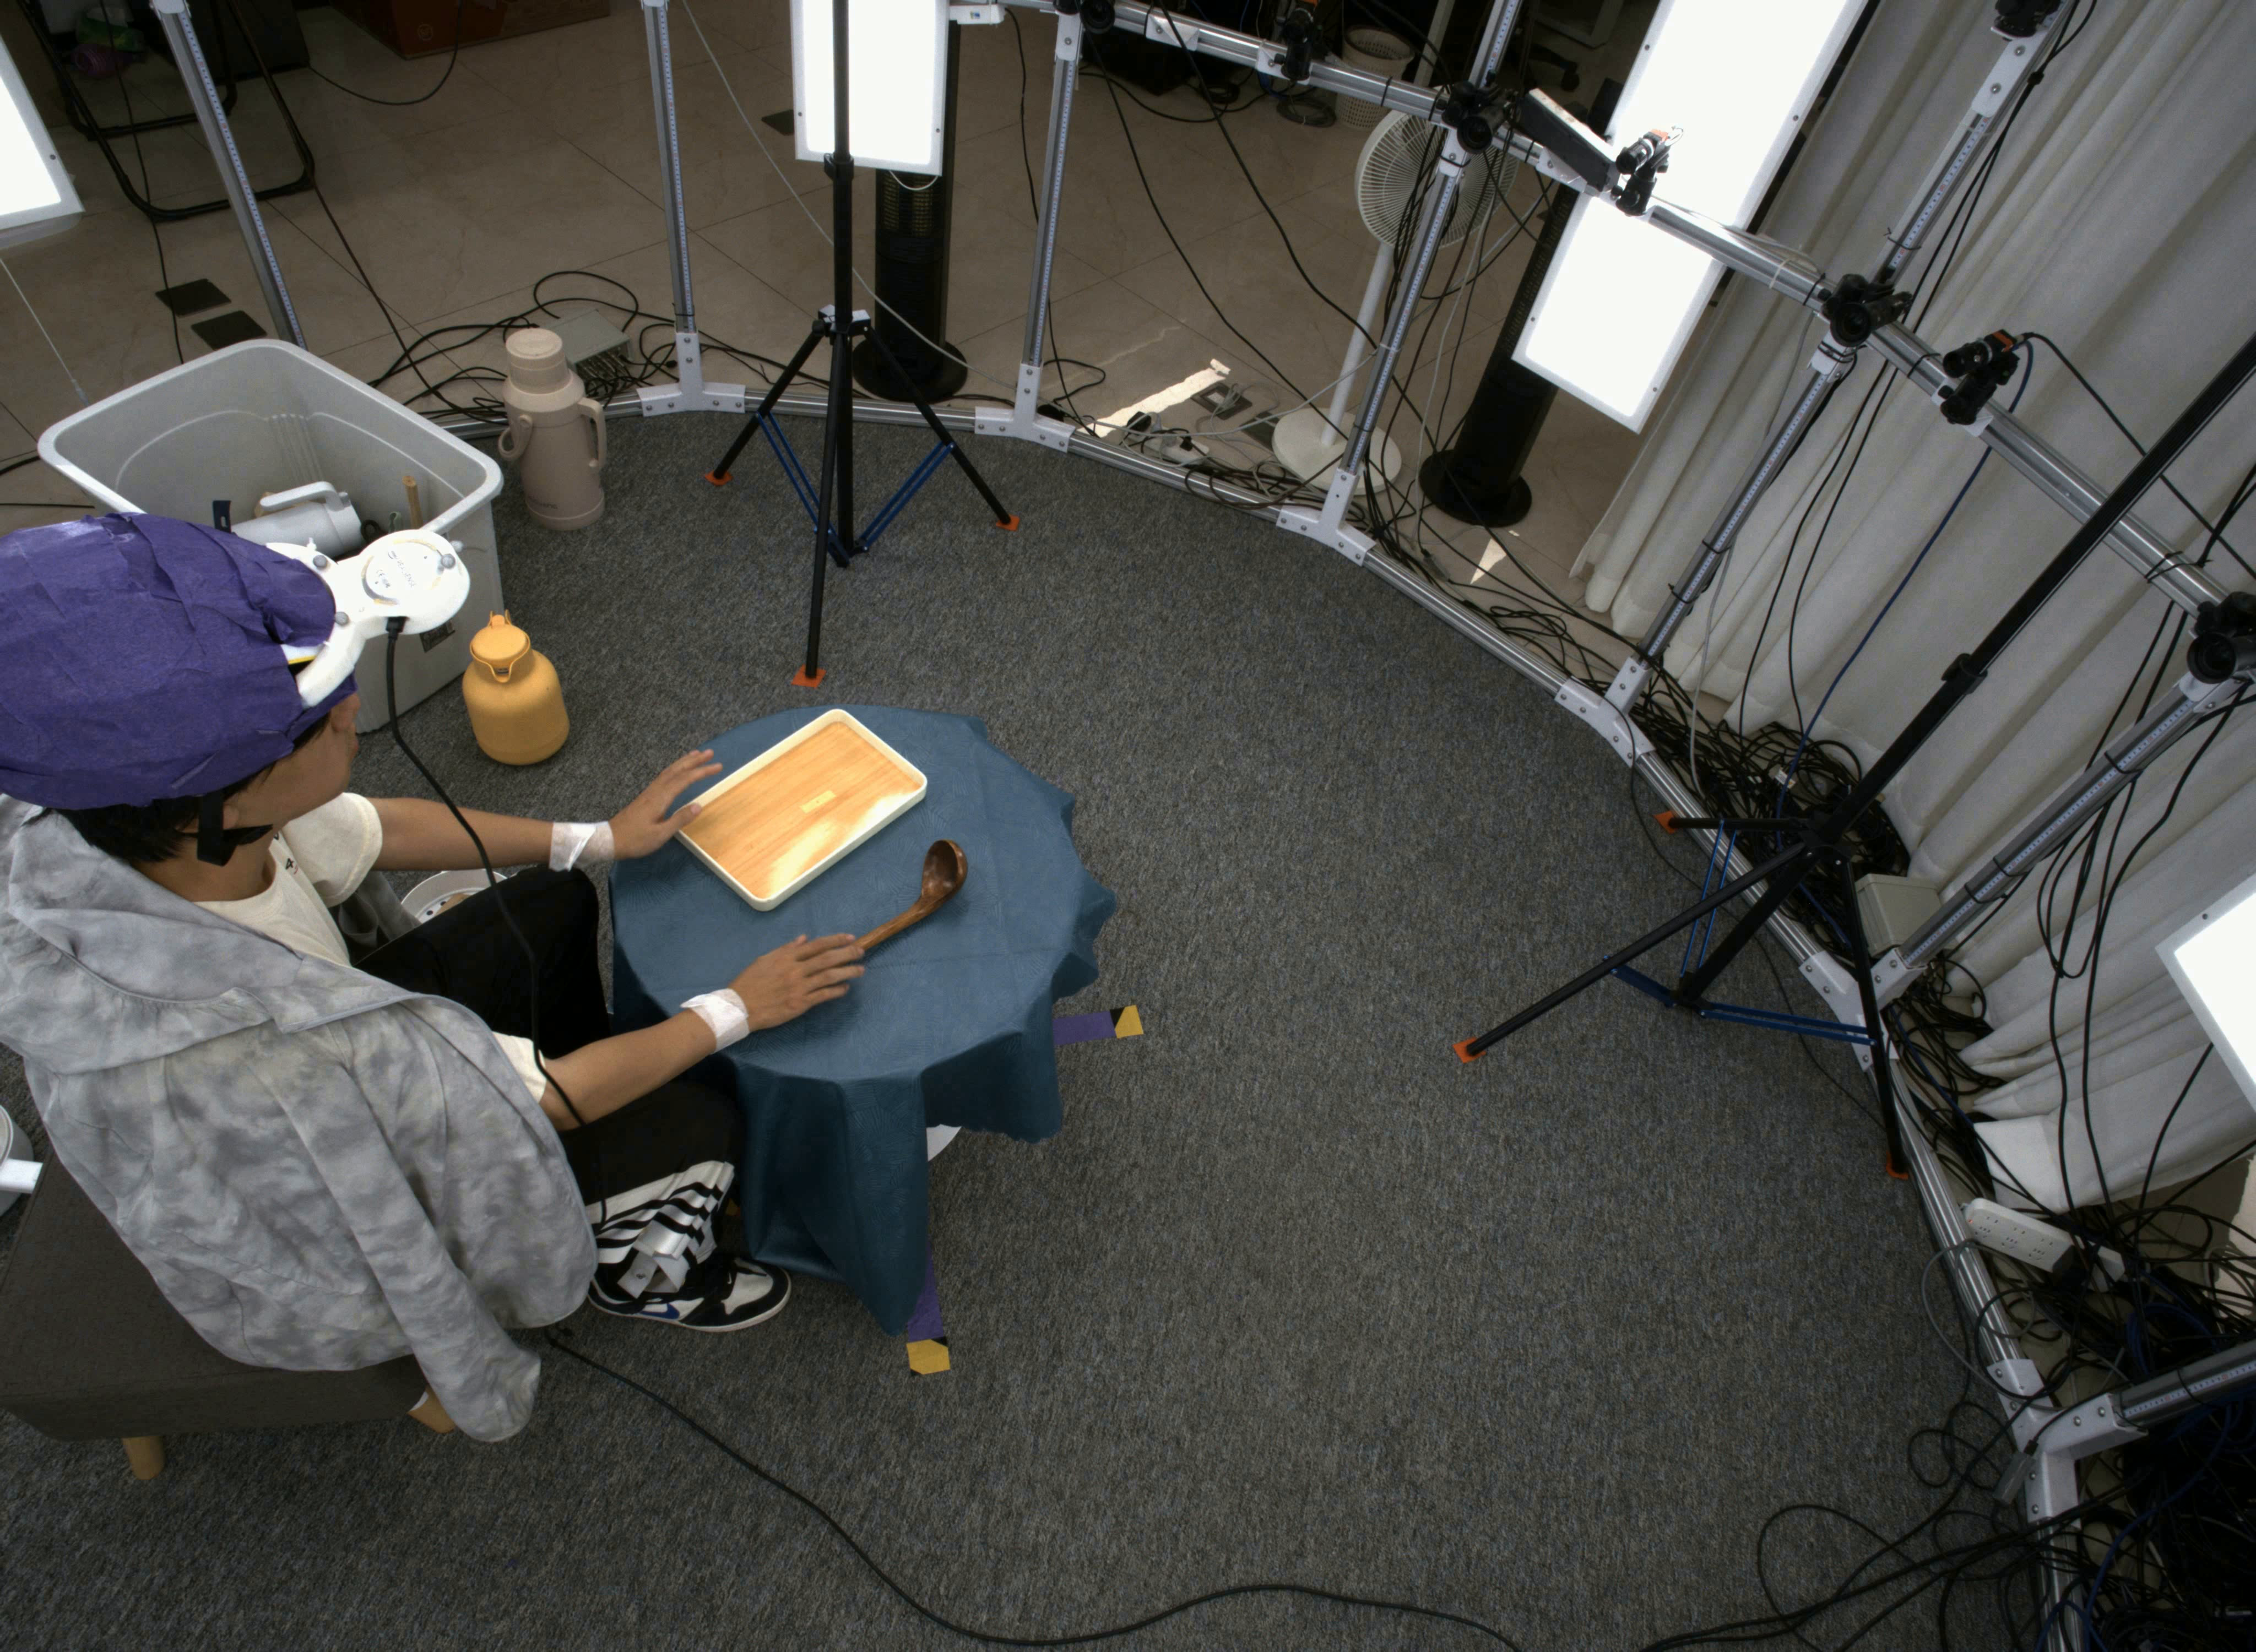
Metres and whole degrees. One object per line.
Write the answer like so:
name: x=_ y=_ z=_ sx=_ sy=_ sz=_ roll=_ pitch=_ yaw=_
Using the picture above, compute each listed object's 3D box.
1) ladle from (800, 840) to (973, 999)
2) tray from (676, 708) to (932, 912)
ladle: x=-0.306 y=0.110 z=1.629 sx=0.275 sy=0.079 sz=0.079 roll=-34 pitch=27 yaw=-31
tray: x=-0.428 y=-0.029 z=1.729 sx=0.187 sy=0.028 sz=0.300 roll=39 pitch=55 yaw=15
